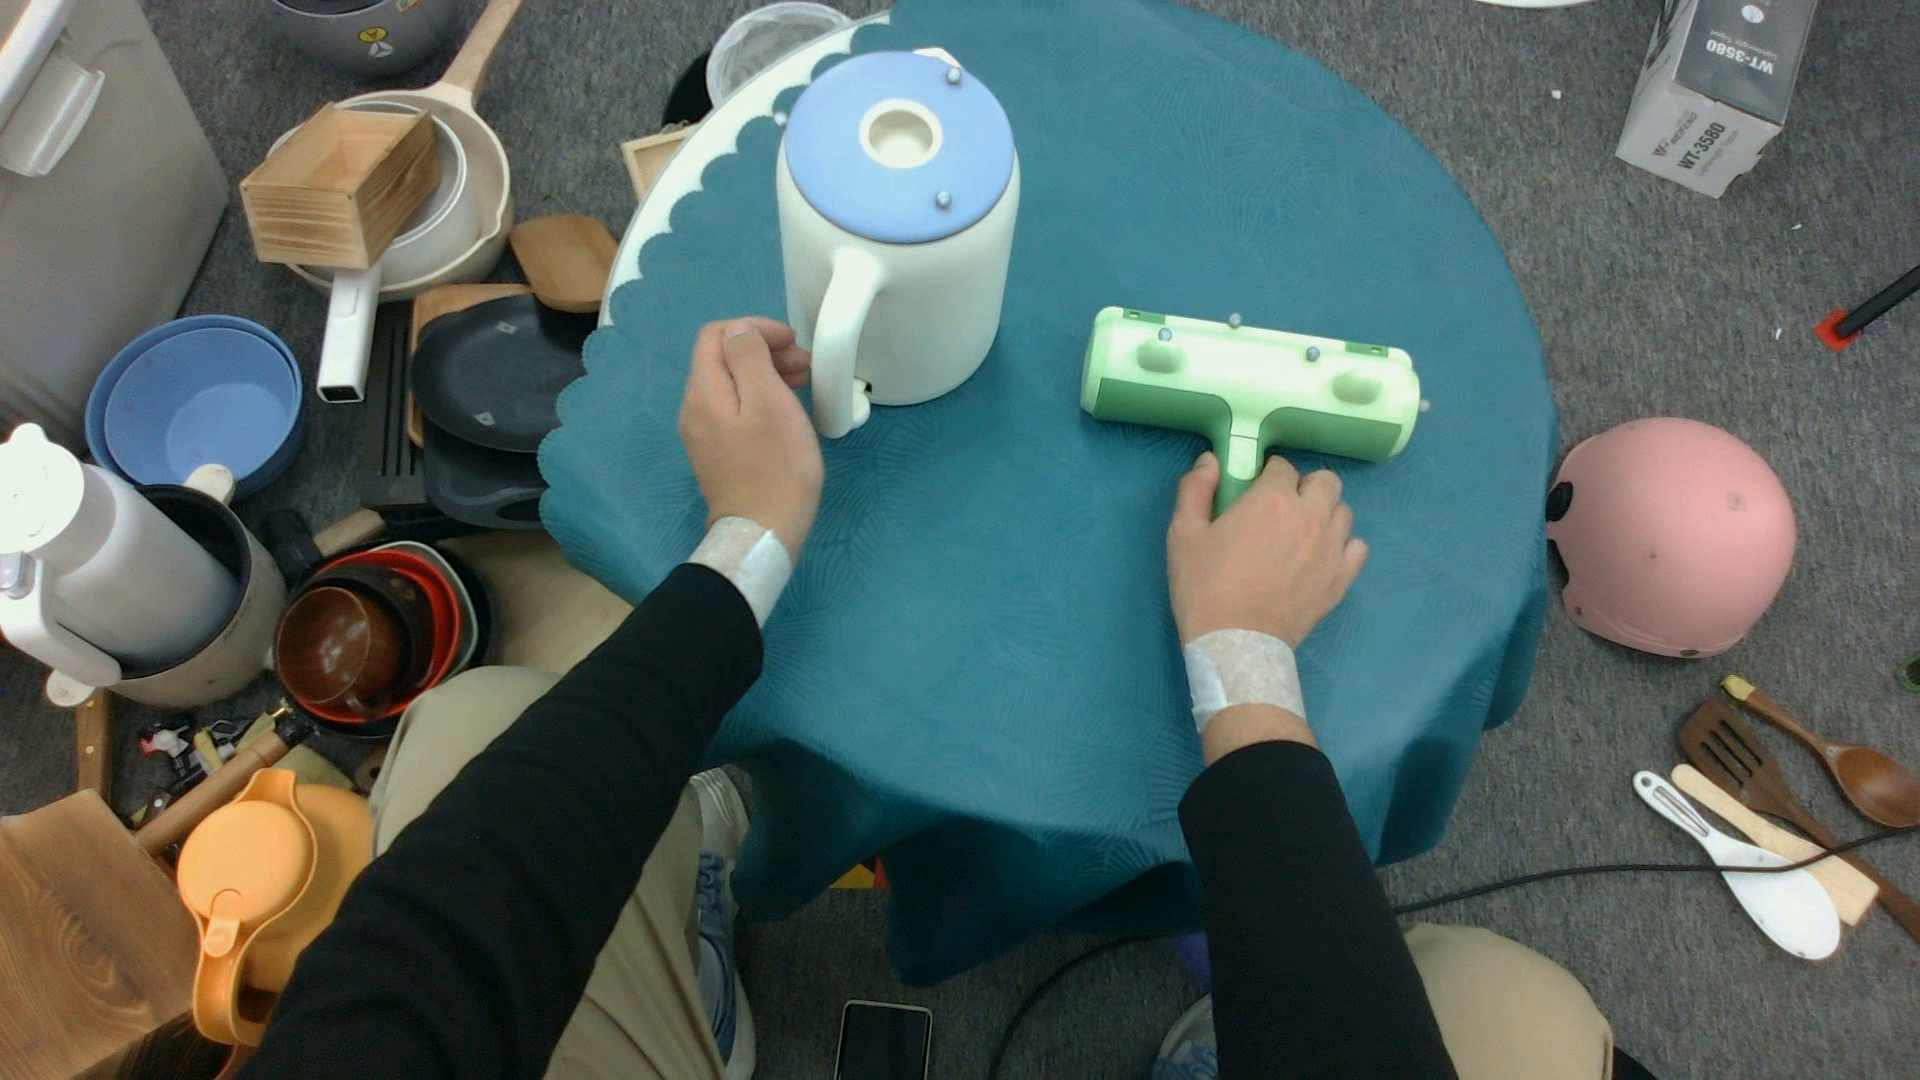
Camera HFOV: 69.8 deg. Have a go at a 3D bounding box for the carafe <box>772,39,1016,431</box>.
[{"bbox_3d":[-0.046,-0.156,0.776,0.132,0.182,0.192,16,69,3],"label":"carafe"}]

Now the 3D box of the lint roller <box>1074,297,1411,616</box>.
[{"bbox_3d":[0.162,-0.052,0.801,0.198,0.082,0.184,9,64,0],"label":"lint roller"}]
